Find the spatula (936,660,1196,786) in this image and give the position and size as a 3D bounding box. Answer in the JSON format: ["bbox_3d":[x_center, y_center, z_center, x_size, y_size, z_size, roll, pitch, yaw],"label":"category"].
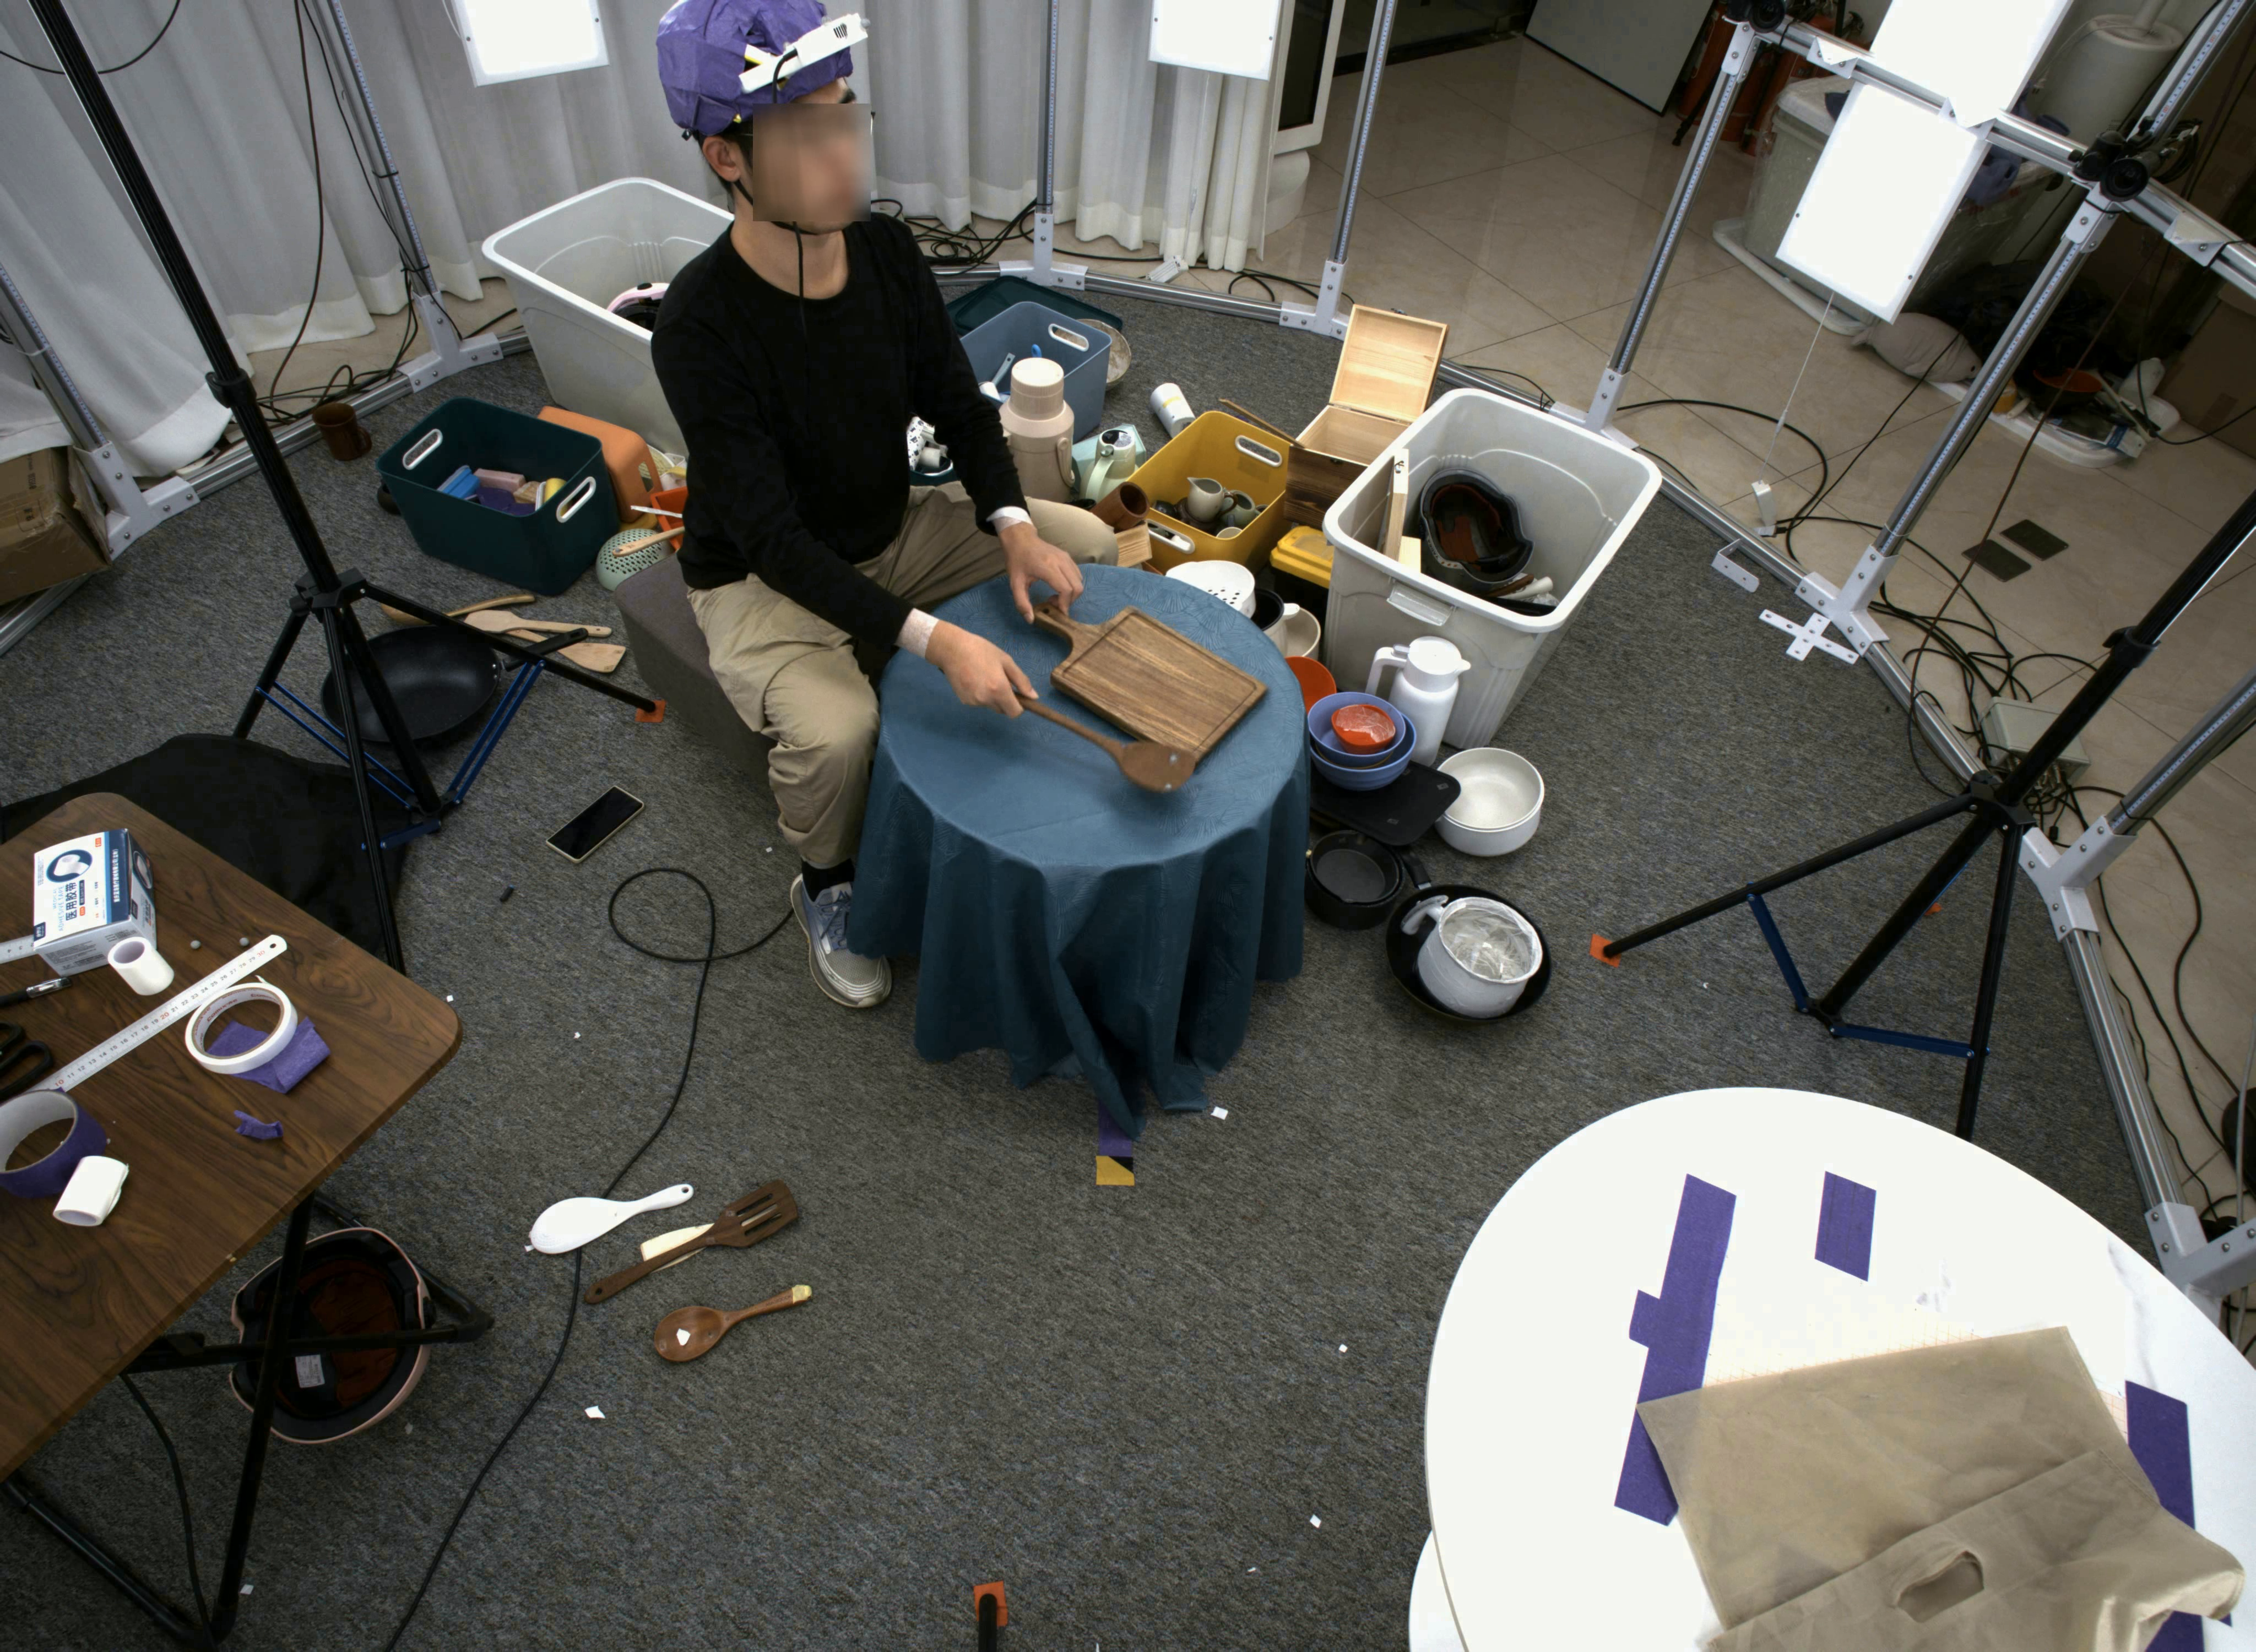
[{"bbox_3d":[-0.090,-0.146,1.710,0.388,0.015,0.097,25,43,14],"label":"spatula"}]

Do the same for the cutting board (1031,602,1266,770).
[{"bbox_3d":[0.005,-0.229,1.841,0.355,0.022,0.204,33,55,18],"label":"cutting board"}]
